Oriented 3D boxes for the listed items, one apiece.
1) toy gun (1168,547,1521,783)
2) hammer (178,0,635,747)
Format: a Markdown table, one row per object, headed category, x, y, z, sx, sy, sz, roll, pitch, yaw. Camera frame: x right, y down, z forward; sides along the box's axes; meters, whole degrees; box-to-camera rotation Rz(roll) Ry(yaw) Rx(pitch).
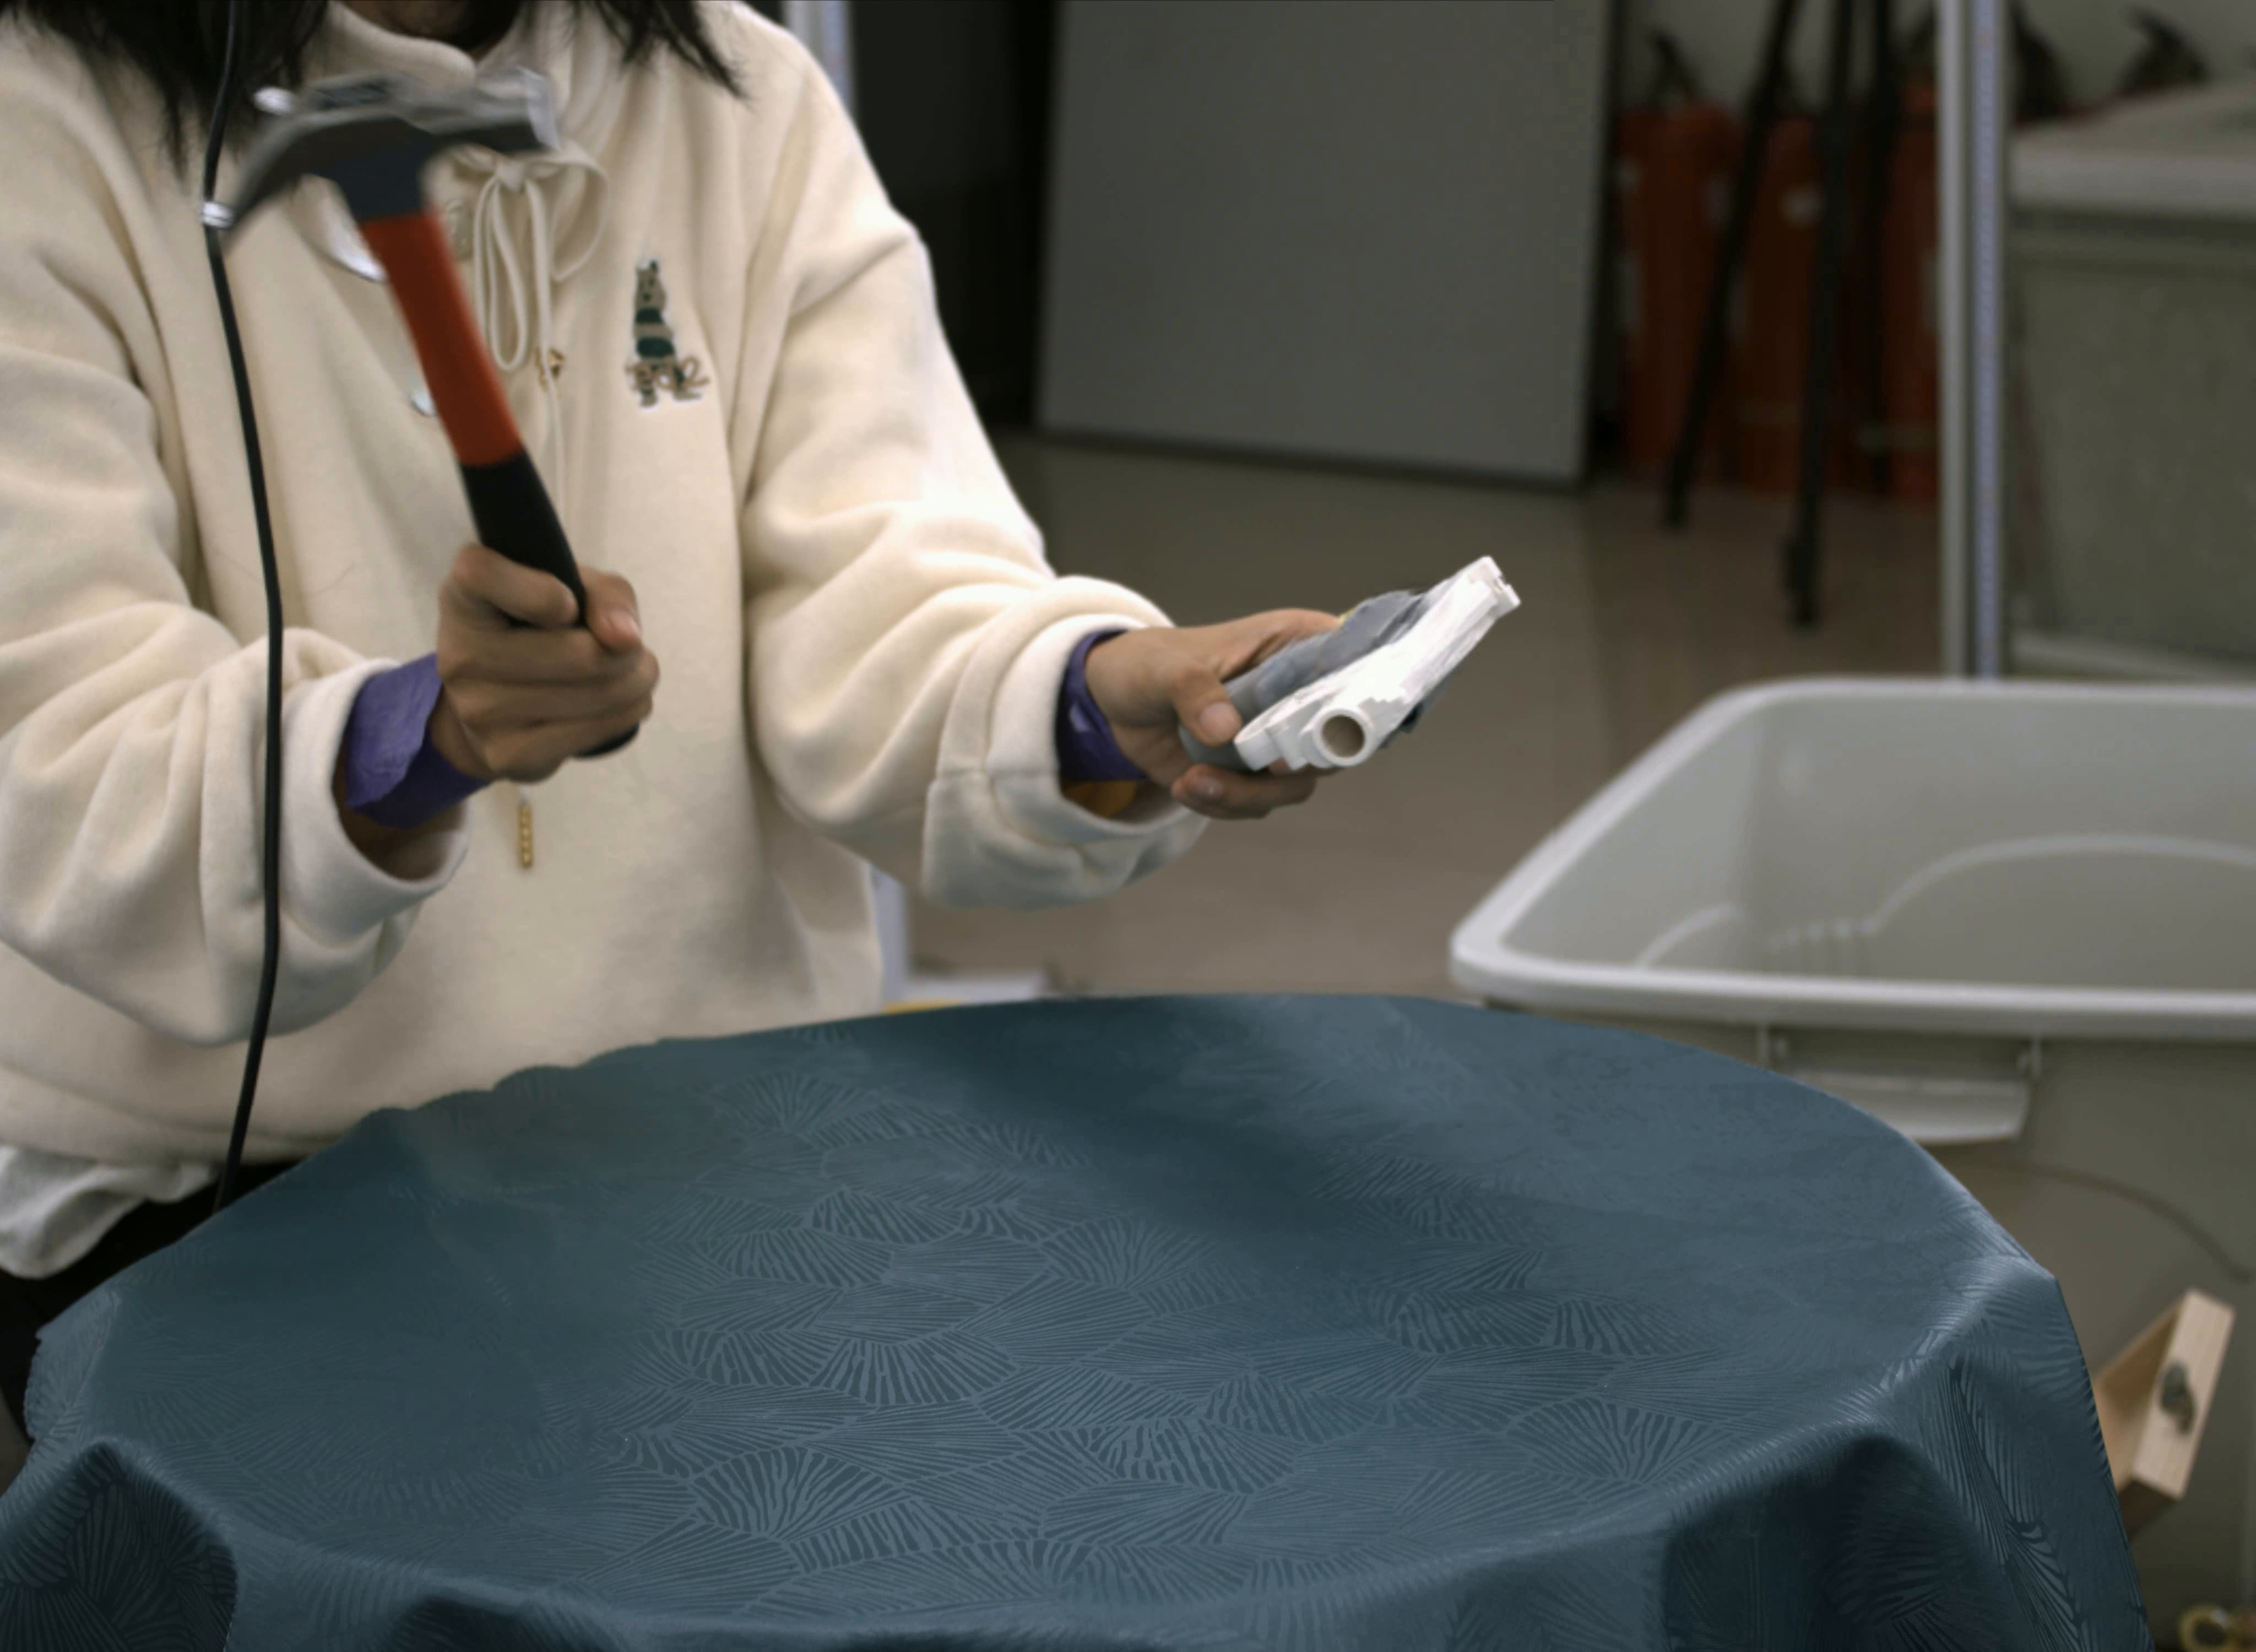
| category | x | y | z | sx | sy | sz | roll | pitch | yaw |
| --- | --- | --- | --- | --- | --- | --- | --- | --- | --- |
| toy gun | 0.058 | -0.041 | 1.716 | 0.142 | 0.039 | 0.207 | -30 | 6 | 23 |
| hammer | -0.206 | -0.128 | 1.660 | 0.109 | 0.277 | 0.026 | -15 | 43 | 4 |
